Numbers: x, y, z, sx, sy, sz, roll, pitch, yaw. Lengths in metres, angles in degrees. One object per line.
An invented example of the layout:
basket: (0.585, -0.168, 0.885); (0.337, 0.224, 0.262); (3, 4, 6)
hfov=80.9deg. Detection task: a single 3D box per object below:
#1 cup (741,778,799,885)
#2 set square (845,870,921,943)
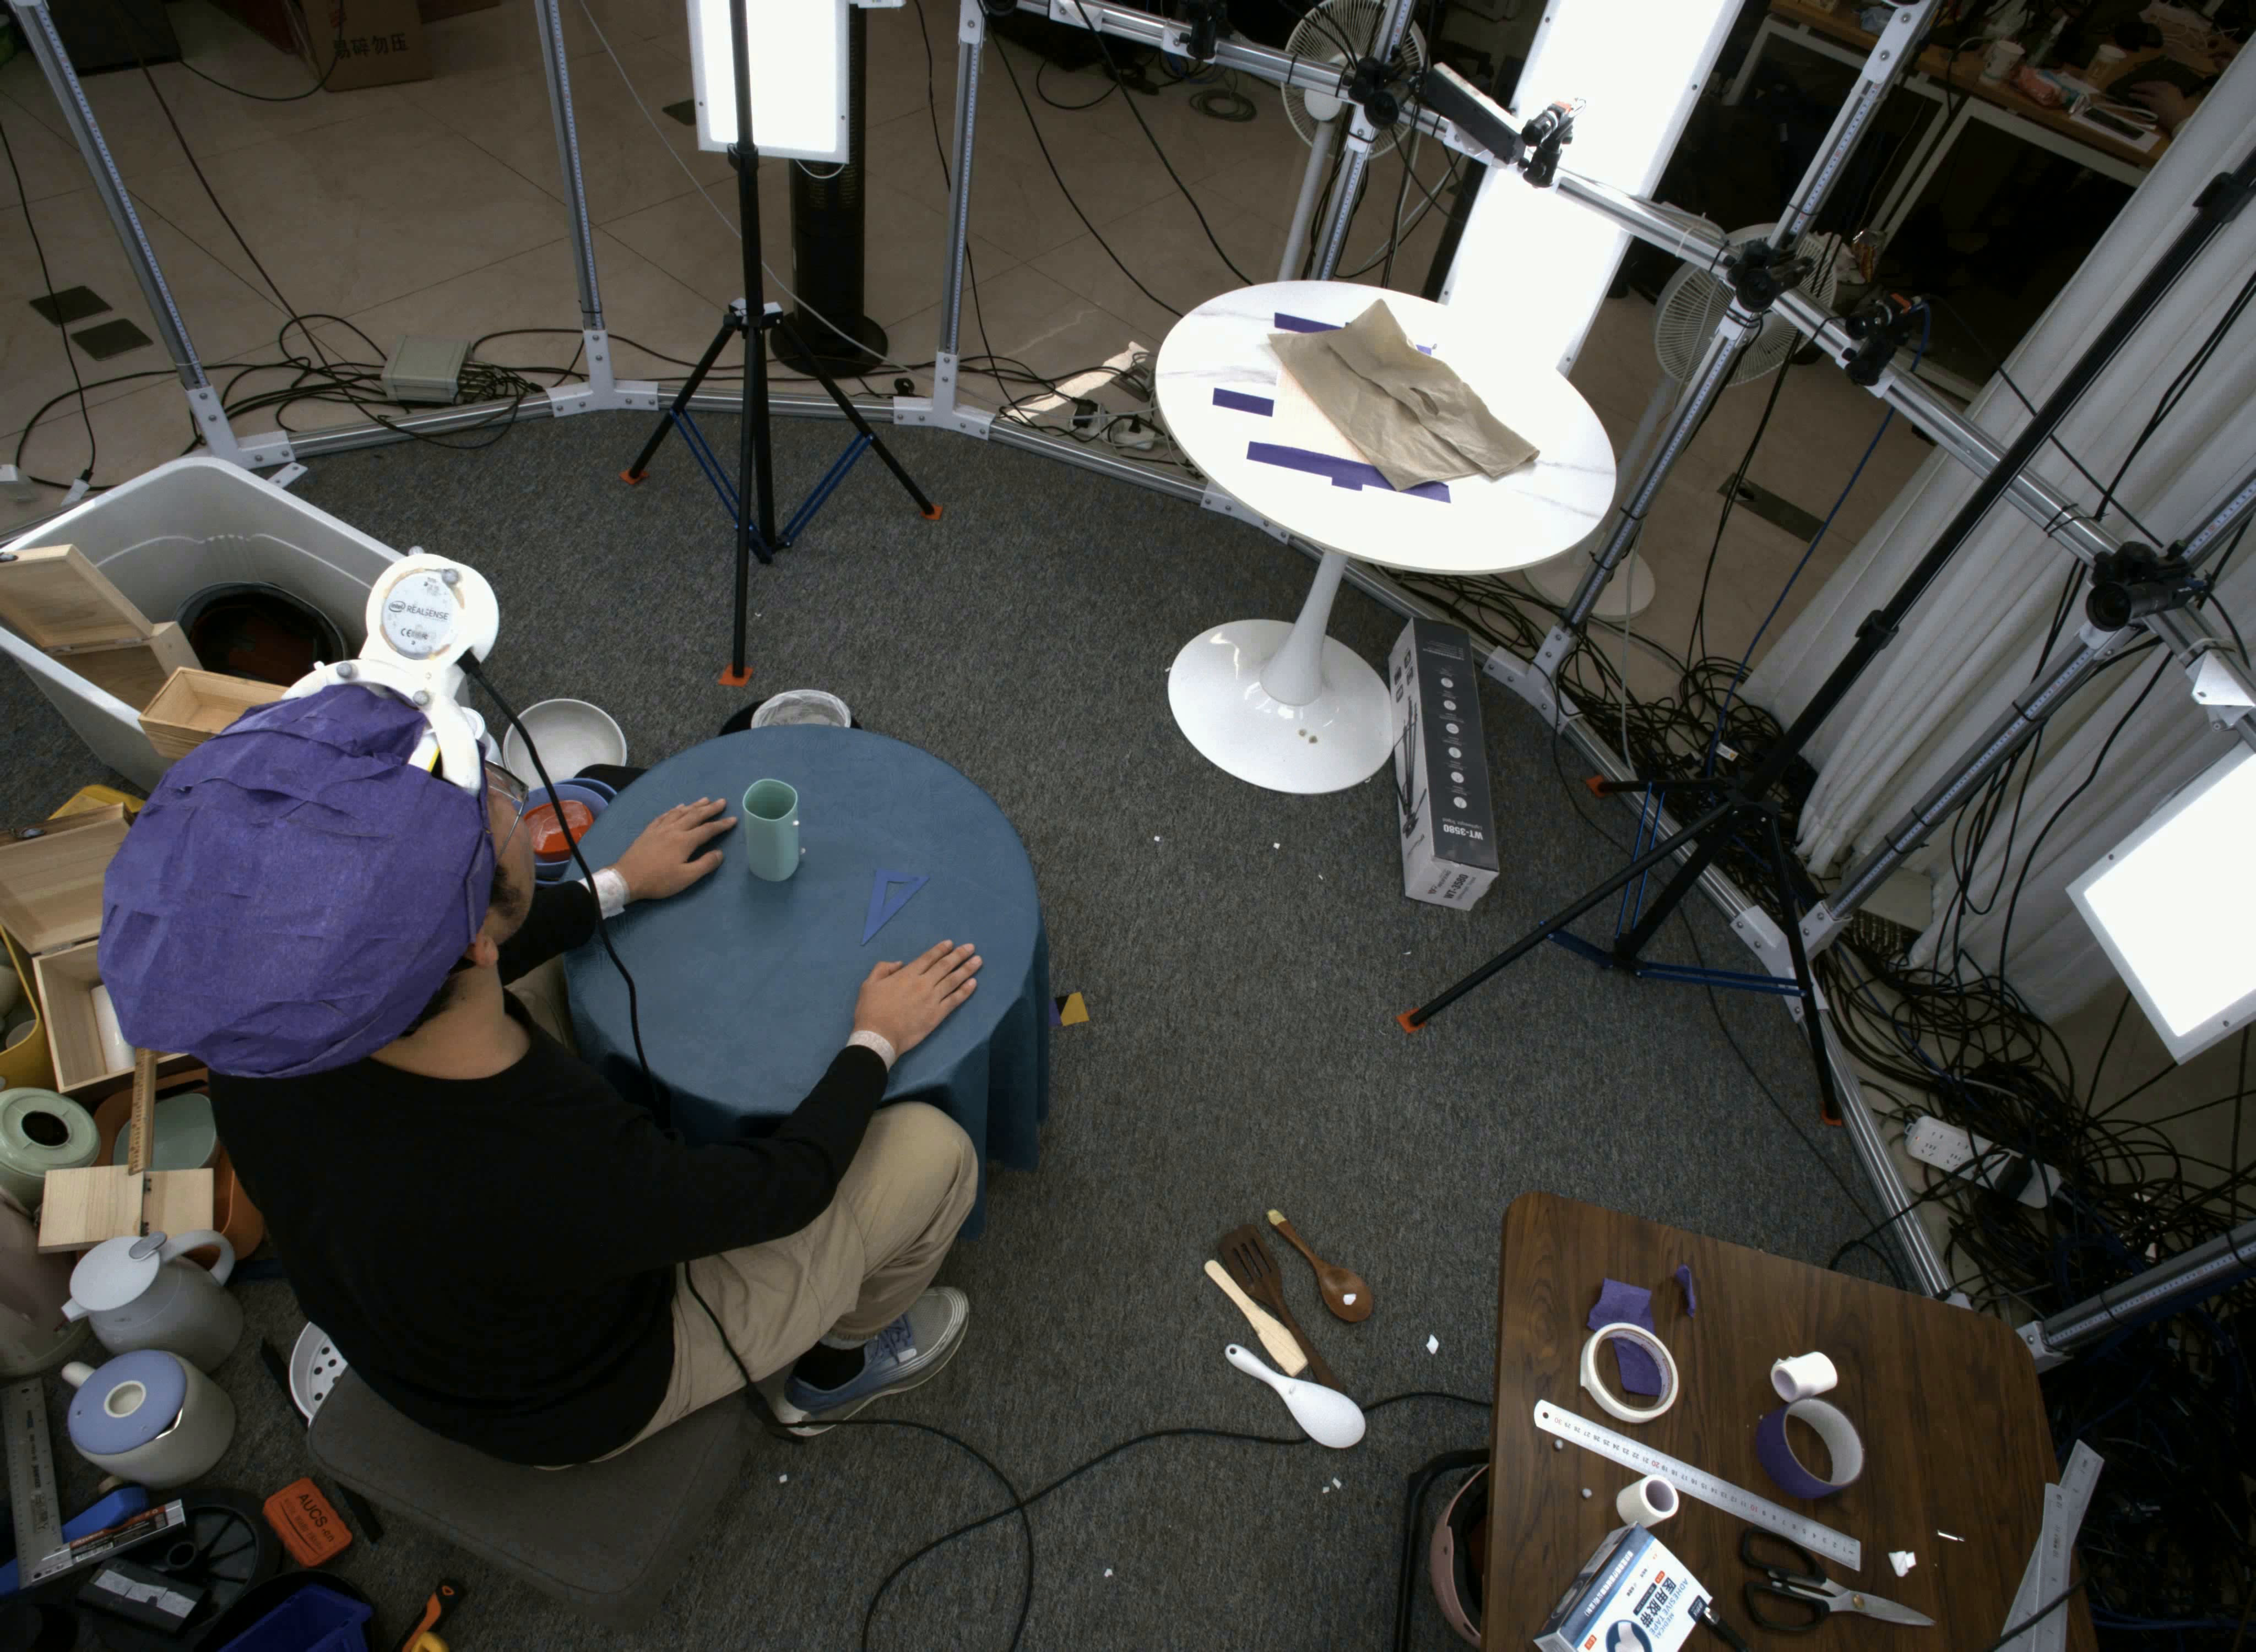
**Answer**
cup: (-0.449, 0.008, 1.627); (0.066, 0.135, 0.065); (7, 51, -7)
set square: (-0.331, 0.093, 1.671); (0.060, 0.006, 0.132); (37, 54, 11)
